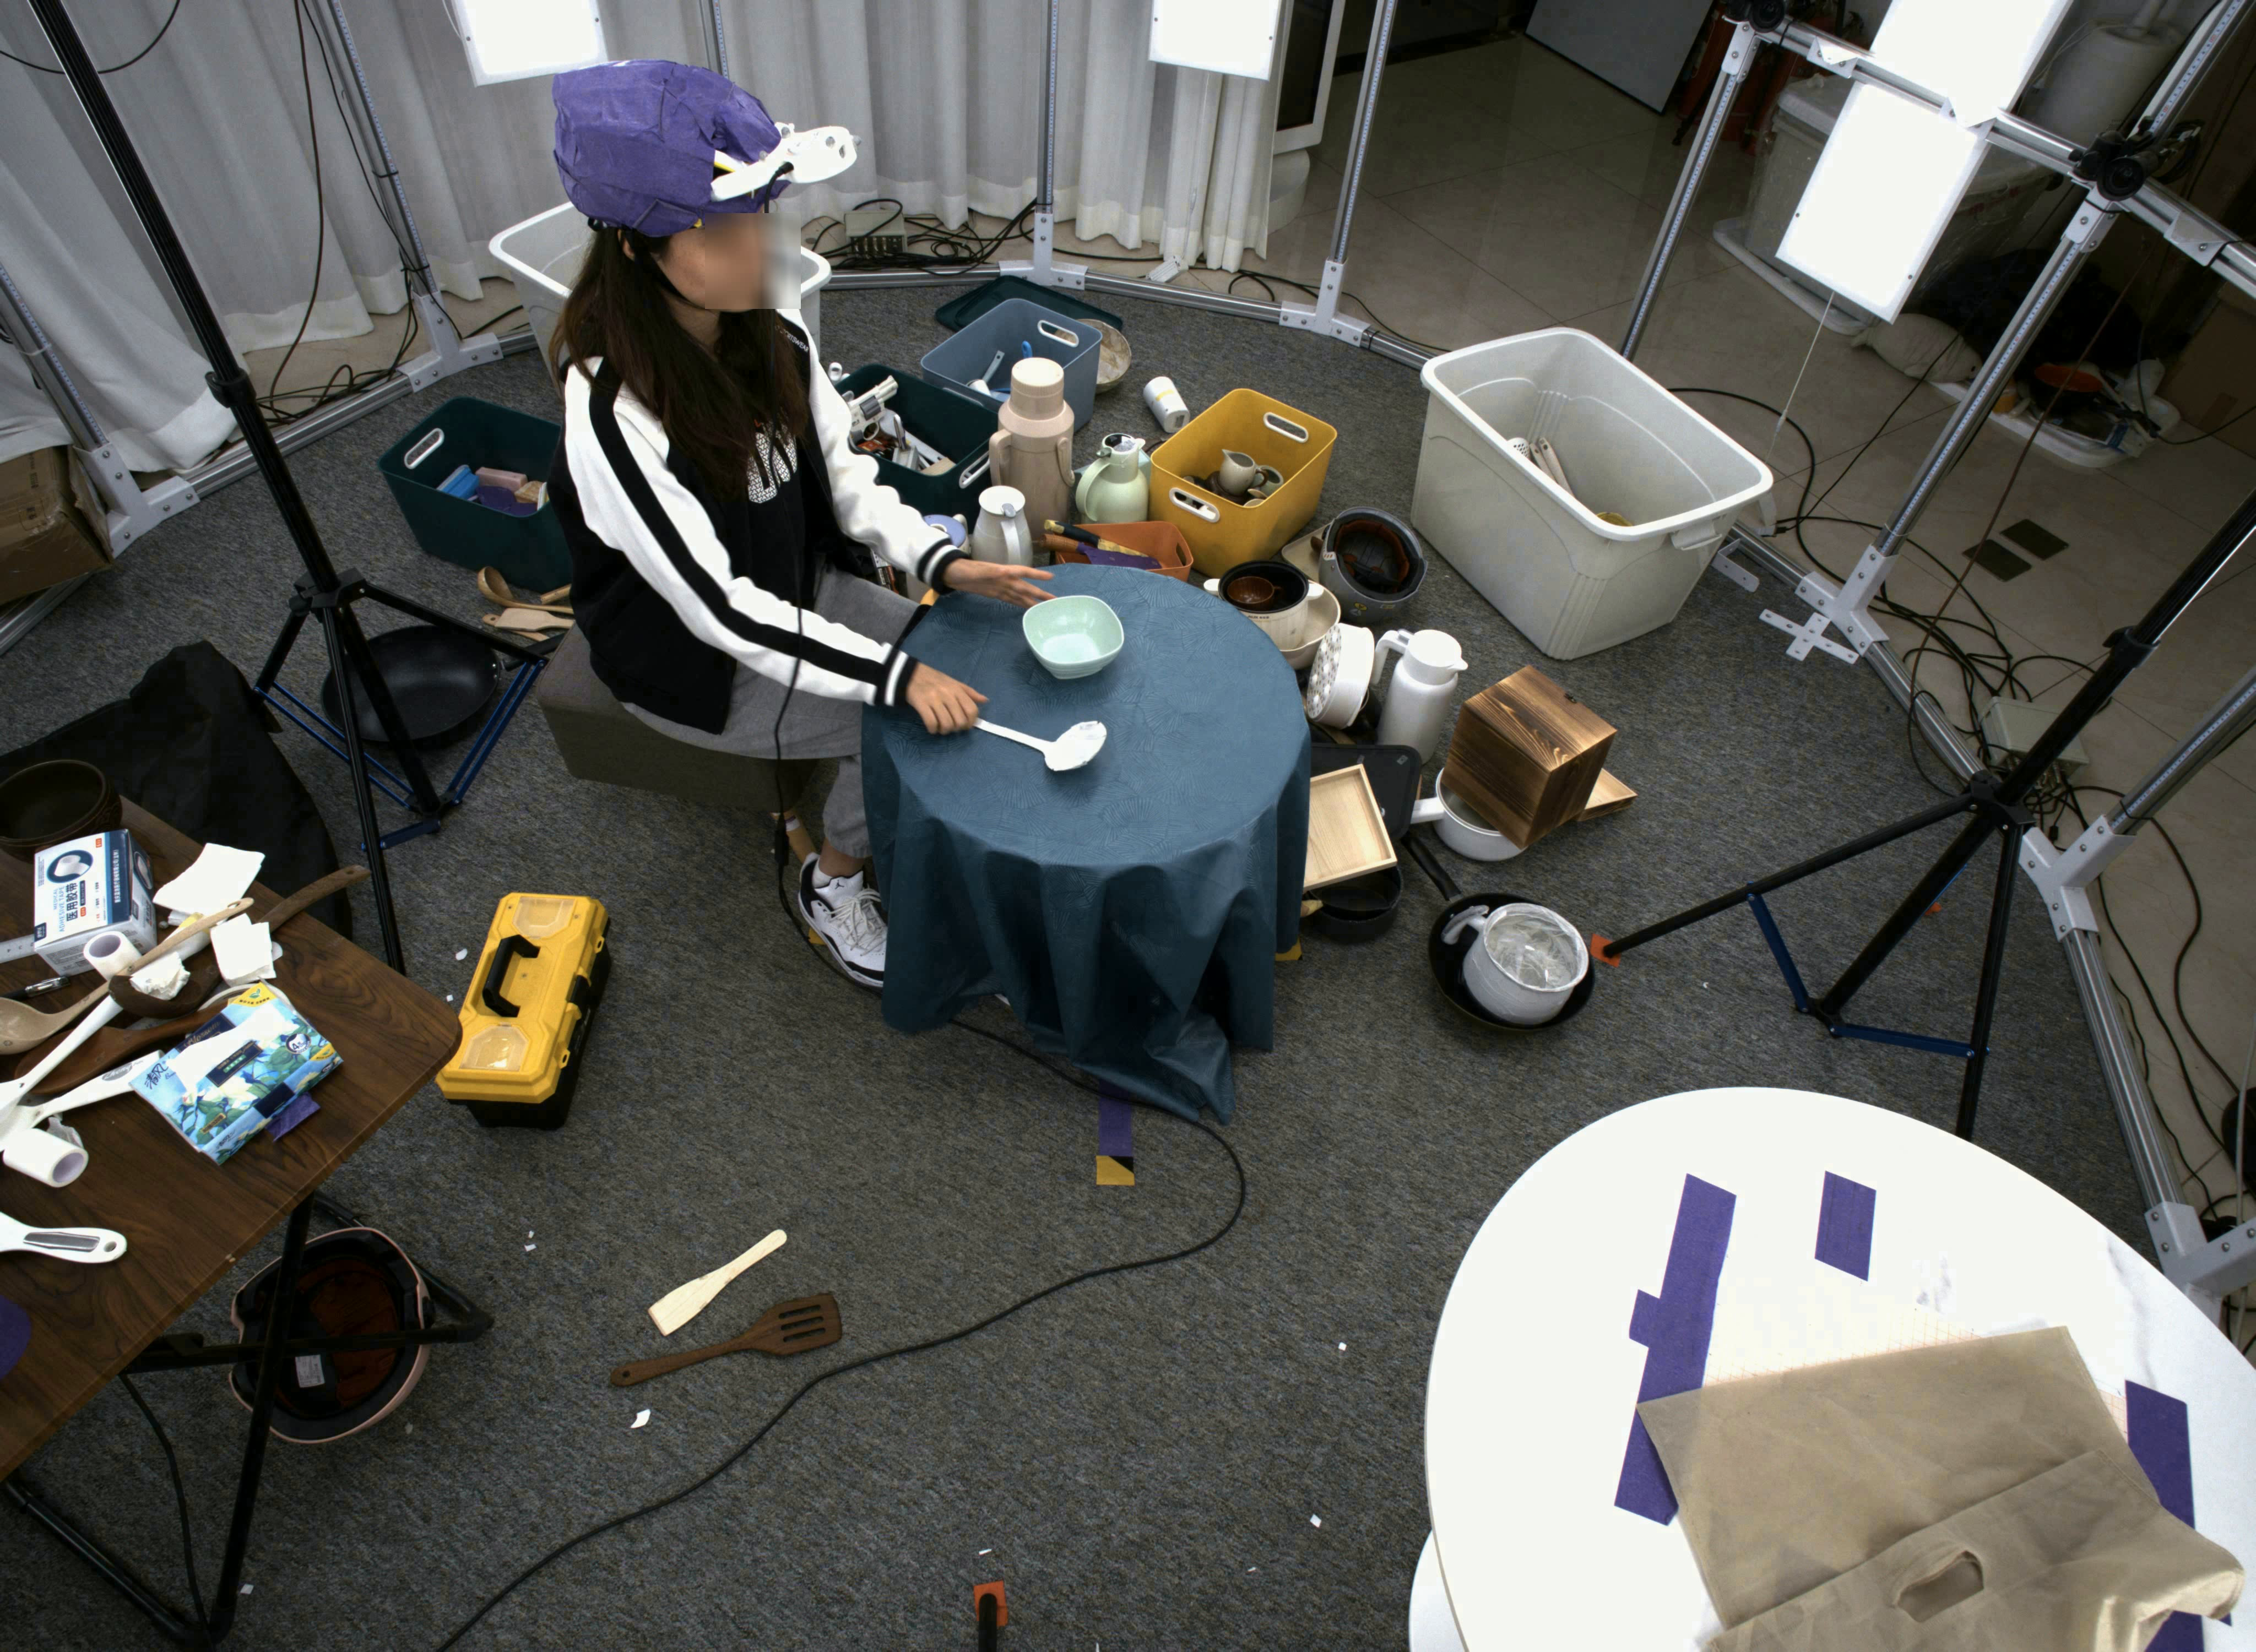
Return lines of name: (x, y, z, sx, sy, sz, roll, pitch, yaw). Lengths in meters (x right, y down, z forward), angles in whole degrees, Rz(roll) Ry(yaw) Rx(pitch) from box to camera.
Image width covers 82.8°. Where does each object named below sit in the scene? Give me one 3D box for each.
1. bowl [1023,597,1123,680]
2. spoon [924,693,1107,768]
bowl: (-0.080, -0.263, 1.859, 0.151, 0.057, 0.155, 2, 49, -2)
spoon: (-0.157, -0.149, 1.750, 0.279, 0.058, 0.102, 24, 50, 15)
